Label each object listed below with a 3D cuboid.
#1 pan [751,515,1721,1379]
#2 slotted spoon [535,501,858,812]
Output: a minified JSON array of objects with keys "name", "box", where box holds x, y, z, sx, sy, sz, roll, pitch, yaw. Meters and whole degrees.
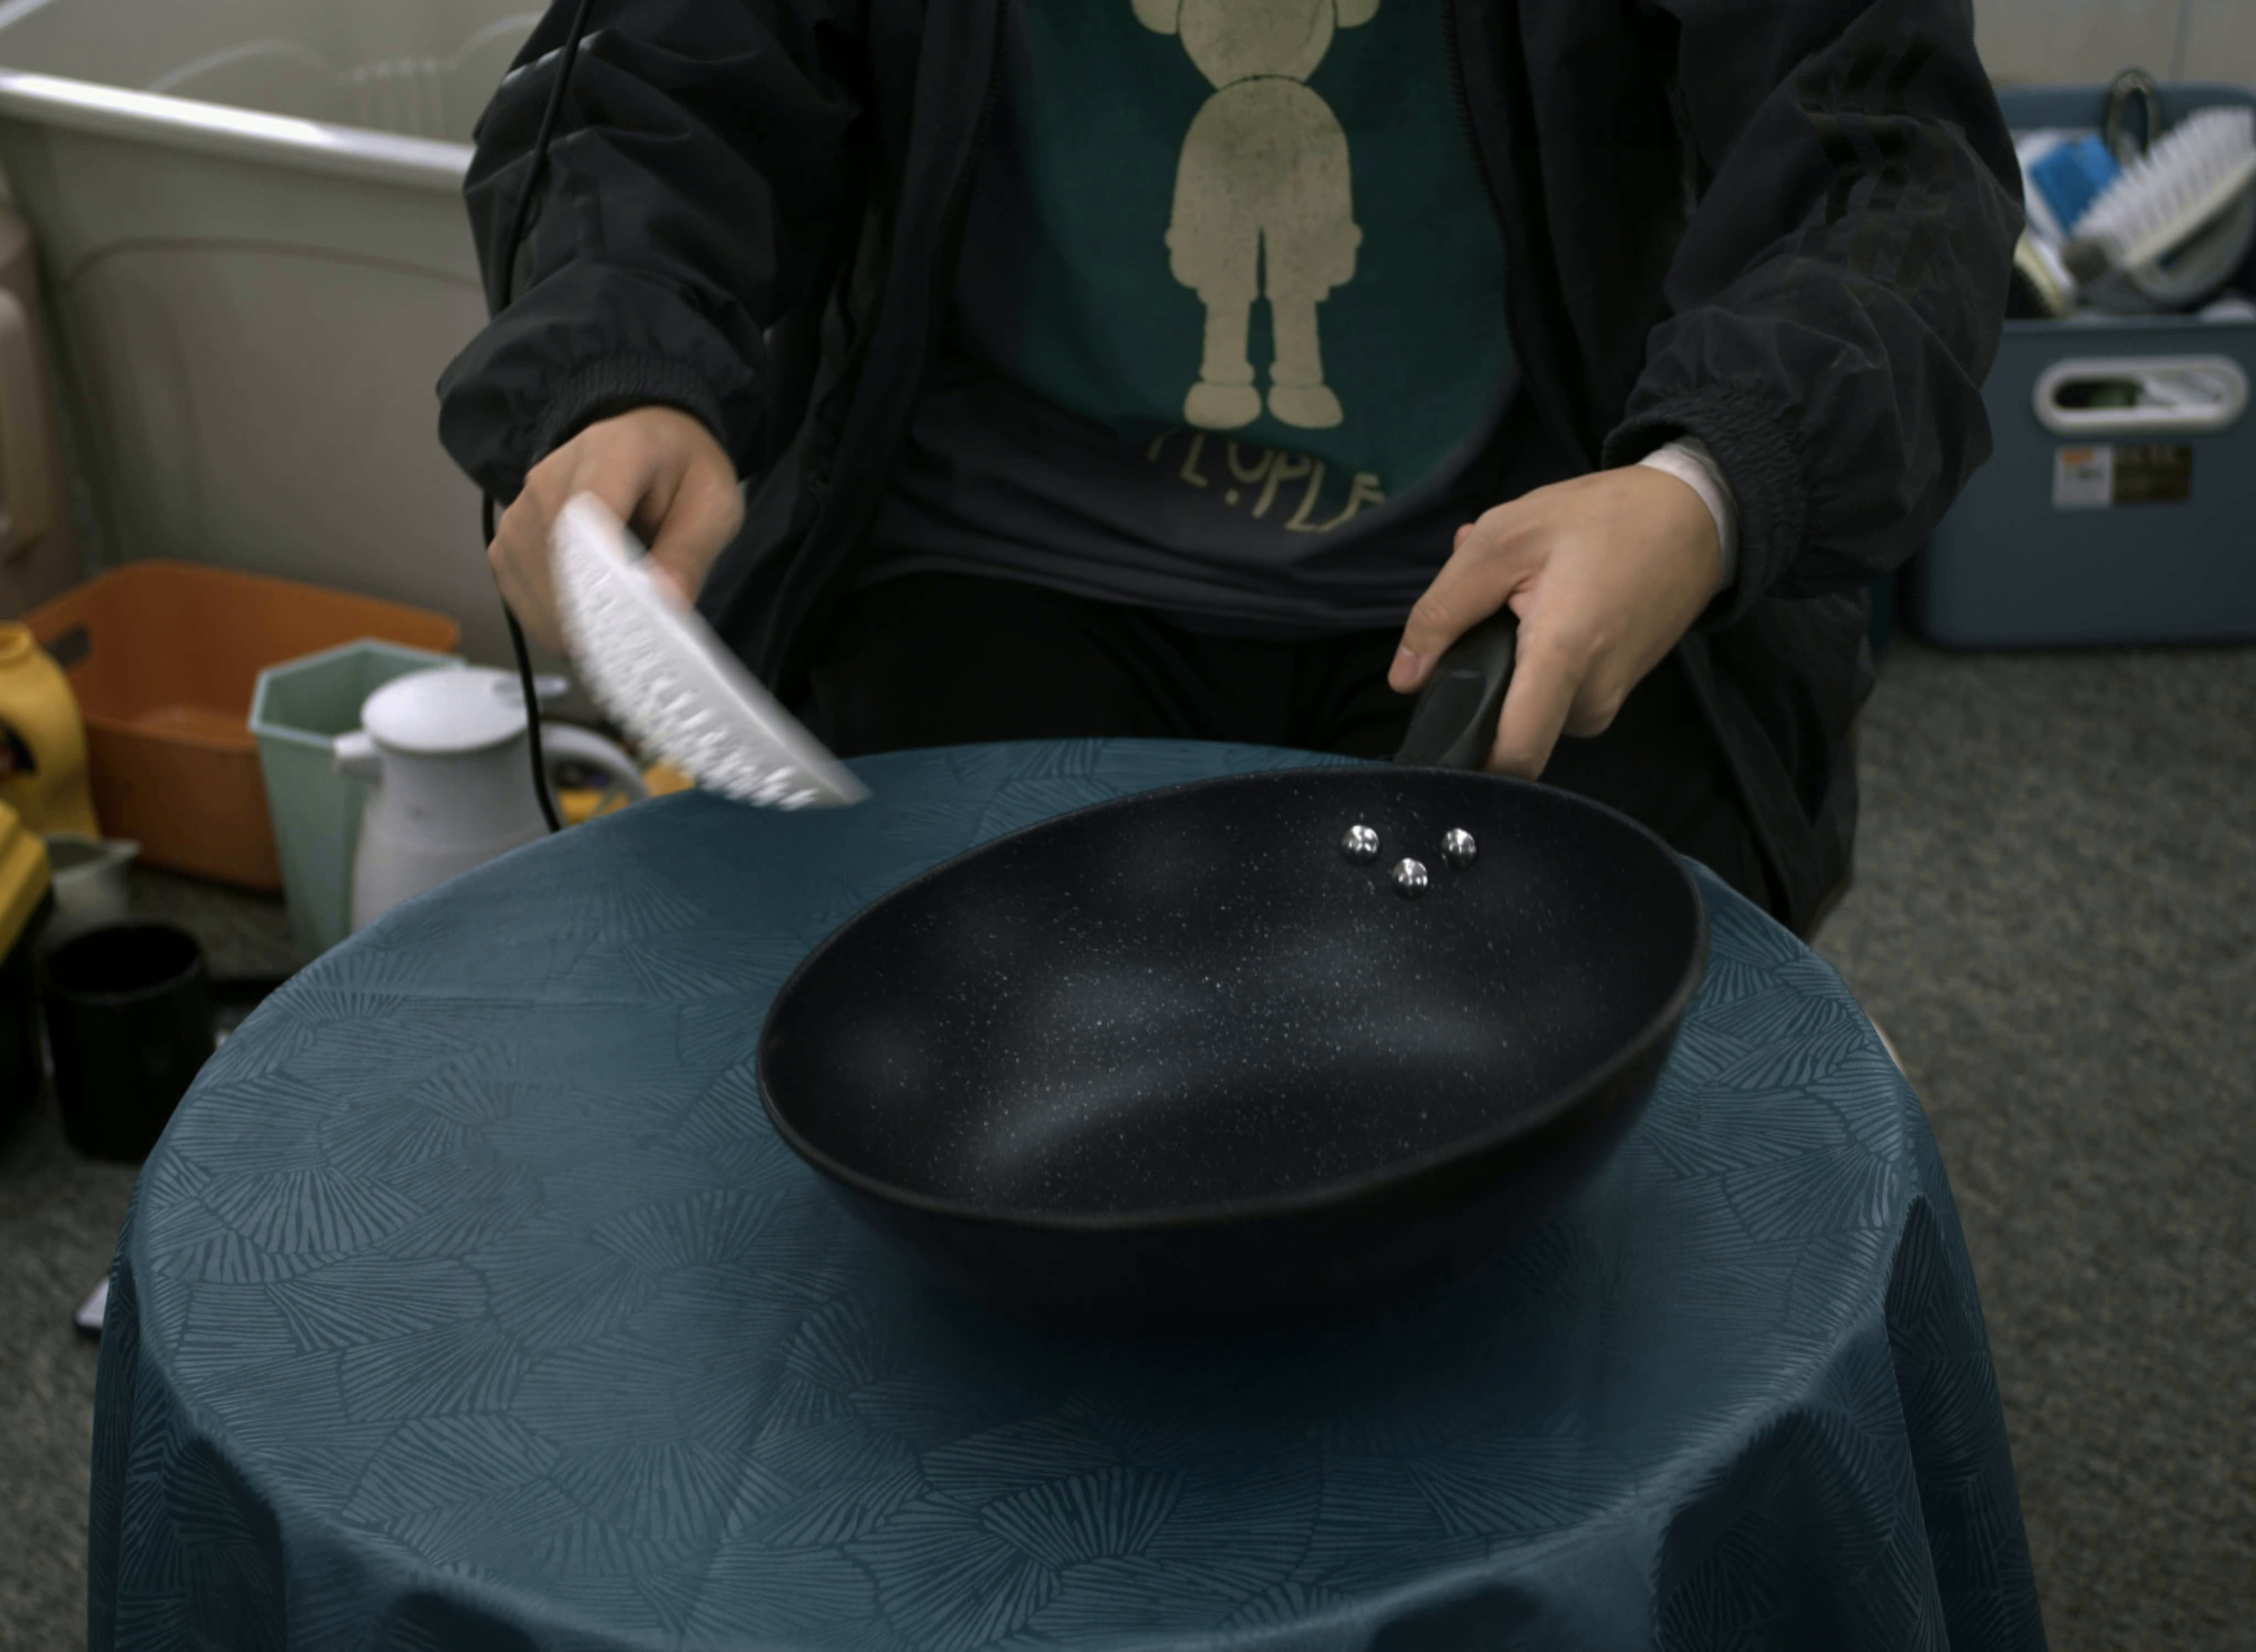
[{"name":"pan","box":[0.071,0.044,1.860,0.308,0.110,0.485,4,29,25]},{"name":"slotted spoon","box":[-0.166,-0.060,1.893,0.050,0.136,0.349,-46,13,1]}]
